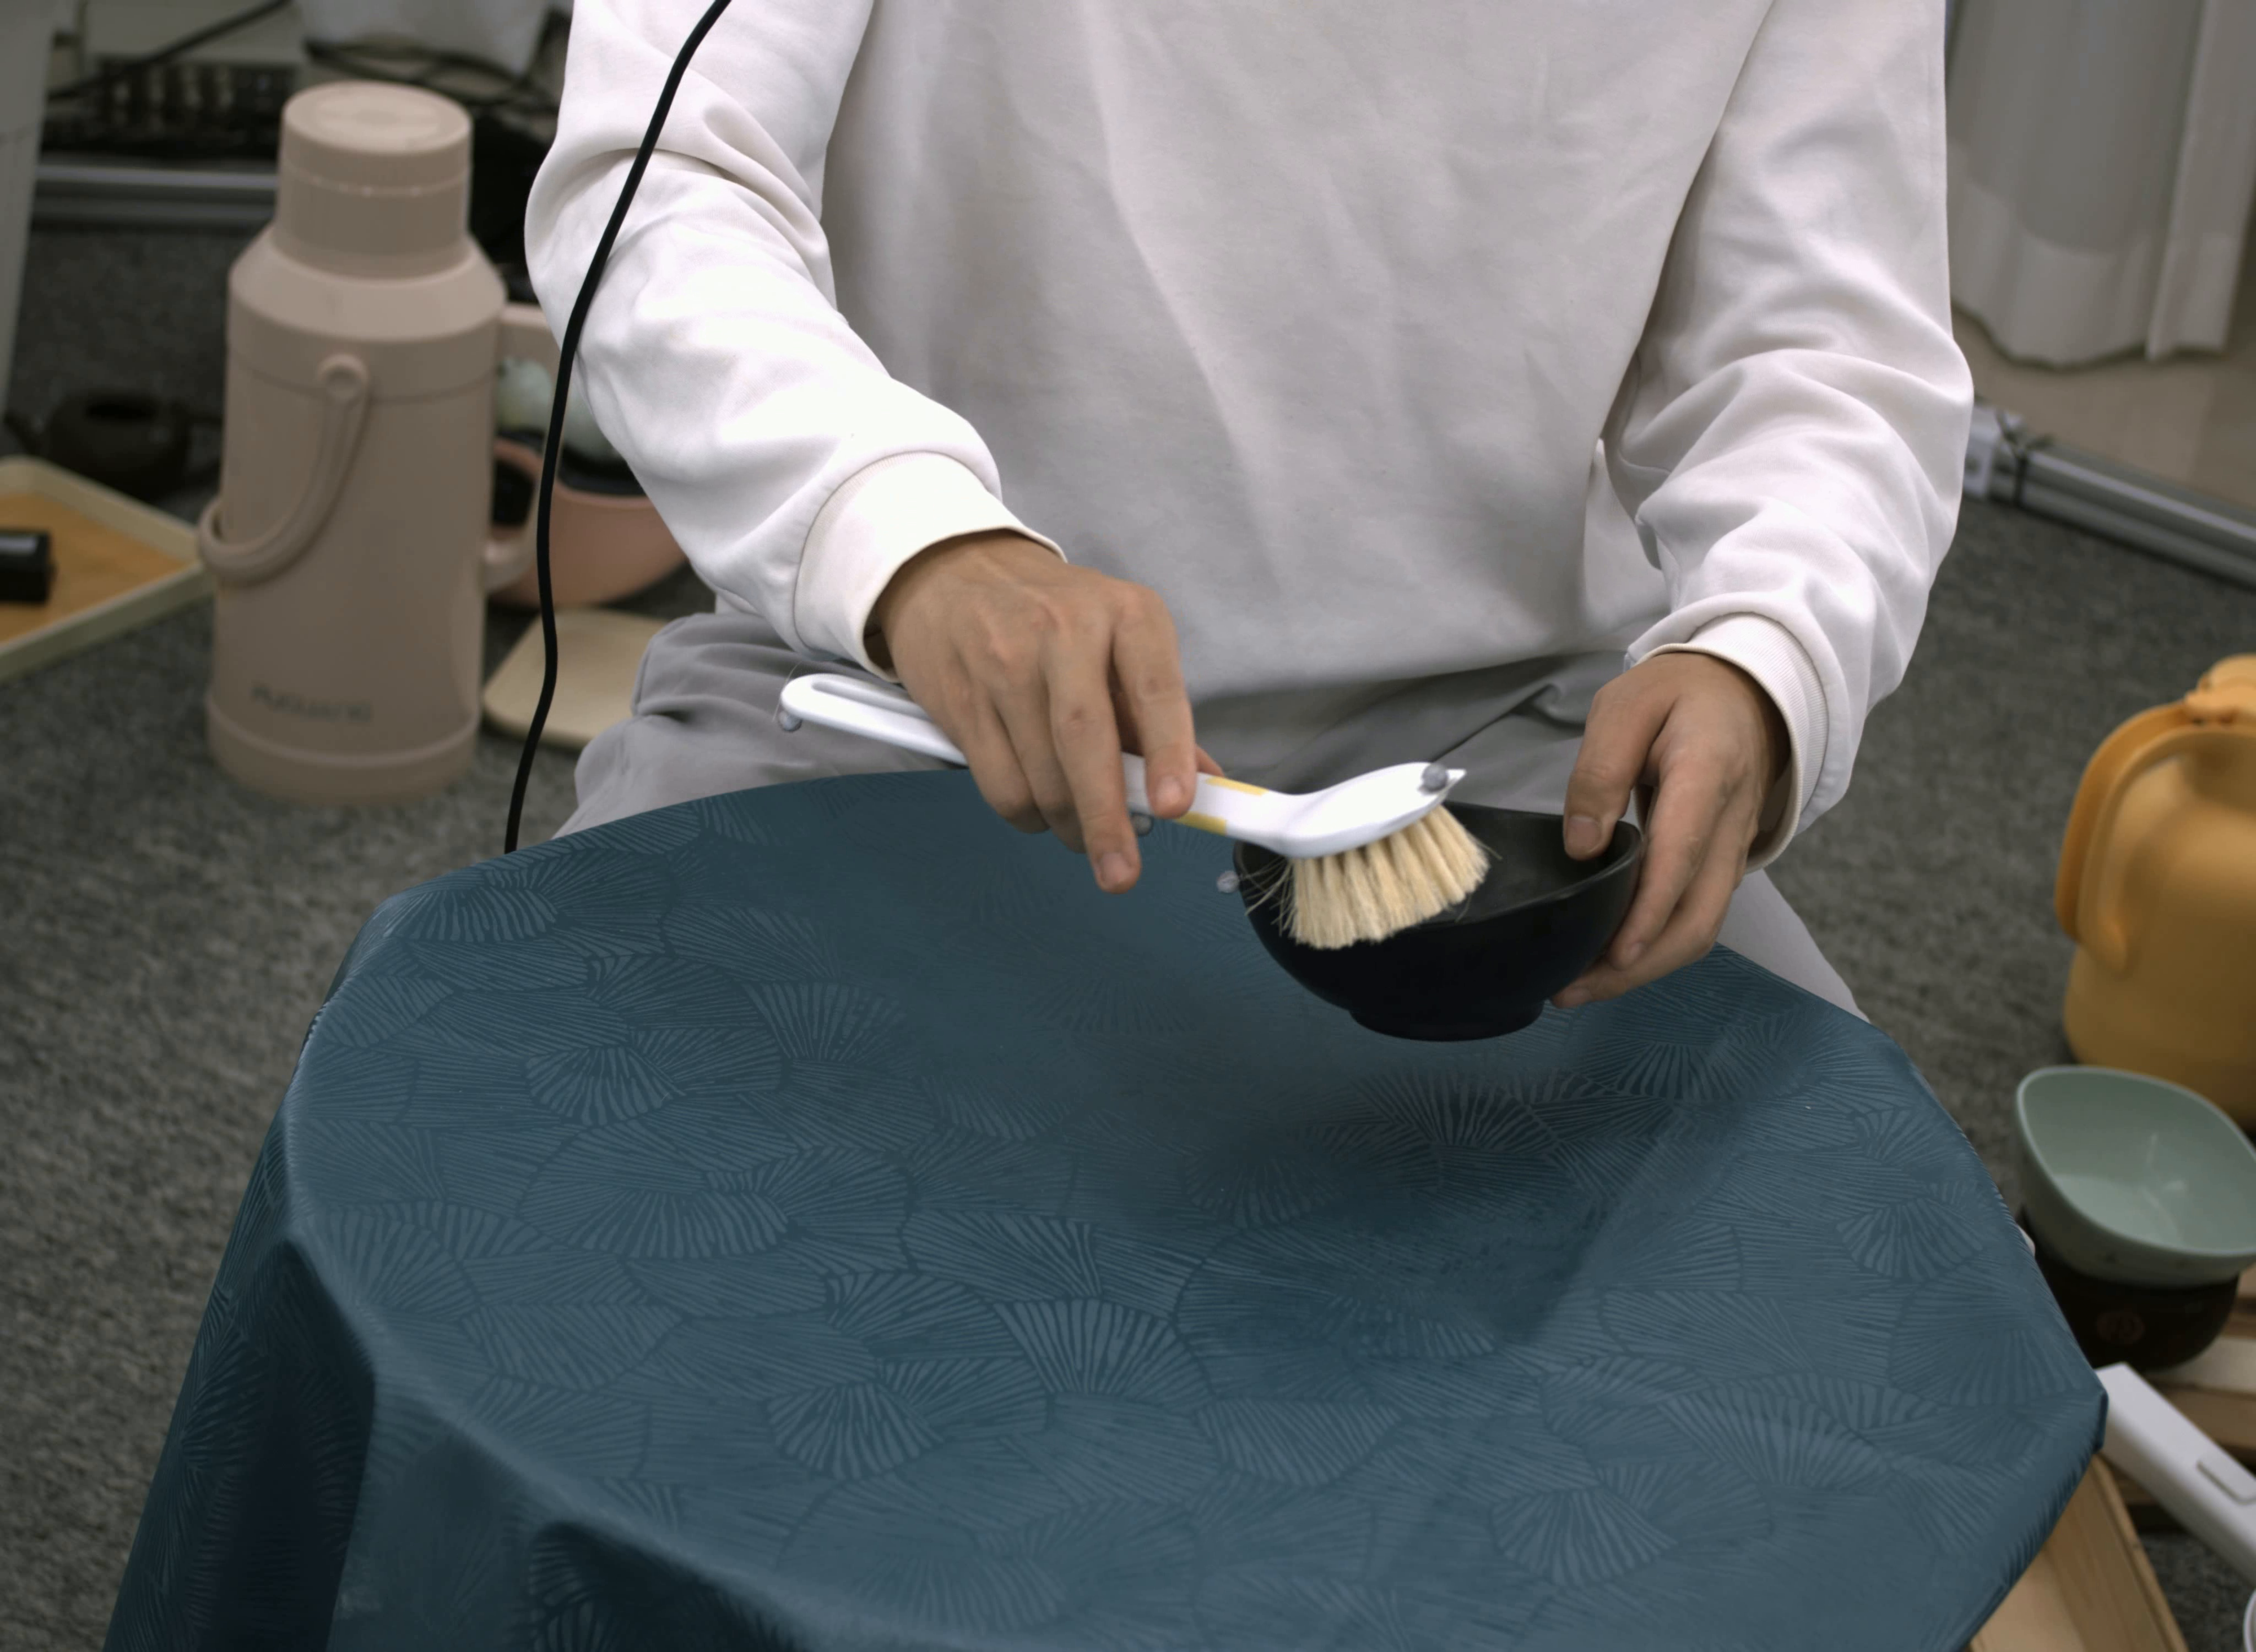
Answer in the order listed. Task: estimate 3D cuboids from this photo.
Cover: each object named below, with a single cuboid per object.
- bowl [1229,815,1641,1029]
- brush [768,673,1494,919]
[{"bbox_3d":[0.108,0.032,1.832,0.138,0.066,0.170,2,12,24],"label":"bowl"},{"bbox_3d":[-0.002,-0.012,1.802,0.267,0.056,0.068,7,26,26],"label":"brush"}]
